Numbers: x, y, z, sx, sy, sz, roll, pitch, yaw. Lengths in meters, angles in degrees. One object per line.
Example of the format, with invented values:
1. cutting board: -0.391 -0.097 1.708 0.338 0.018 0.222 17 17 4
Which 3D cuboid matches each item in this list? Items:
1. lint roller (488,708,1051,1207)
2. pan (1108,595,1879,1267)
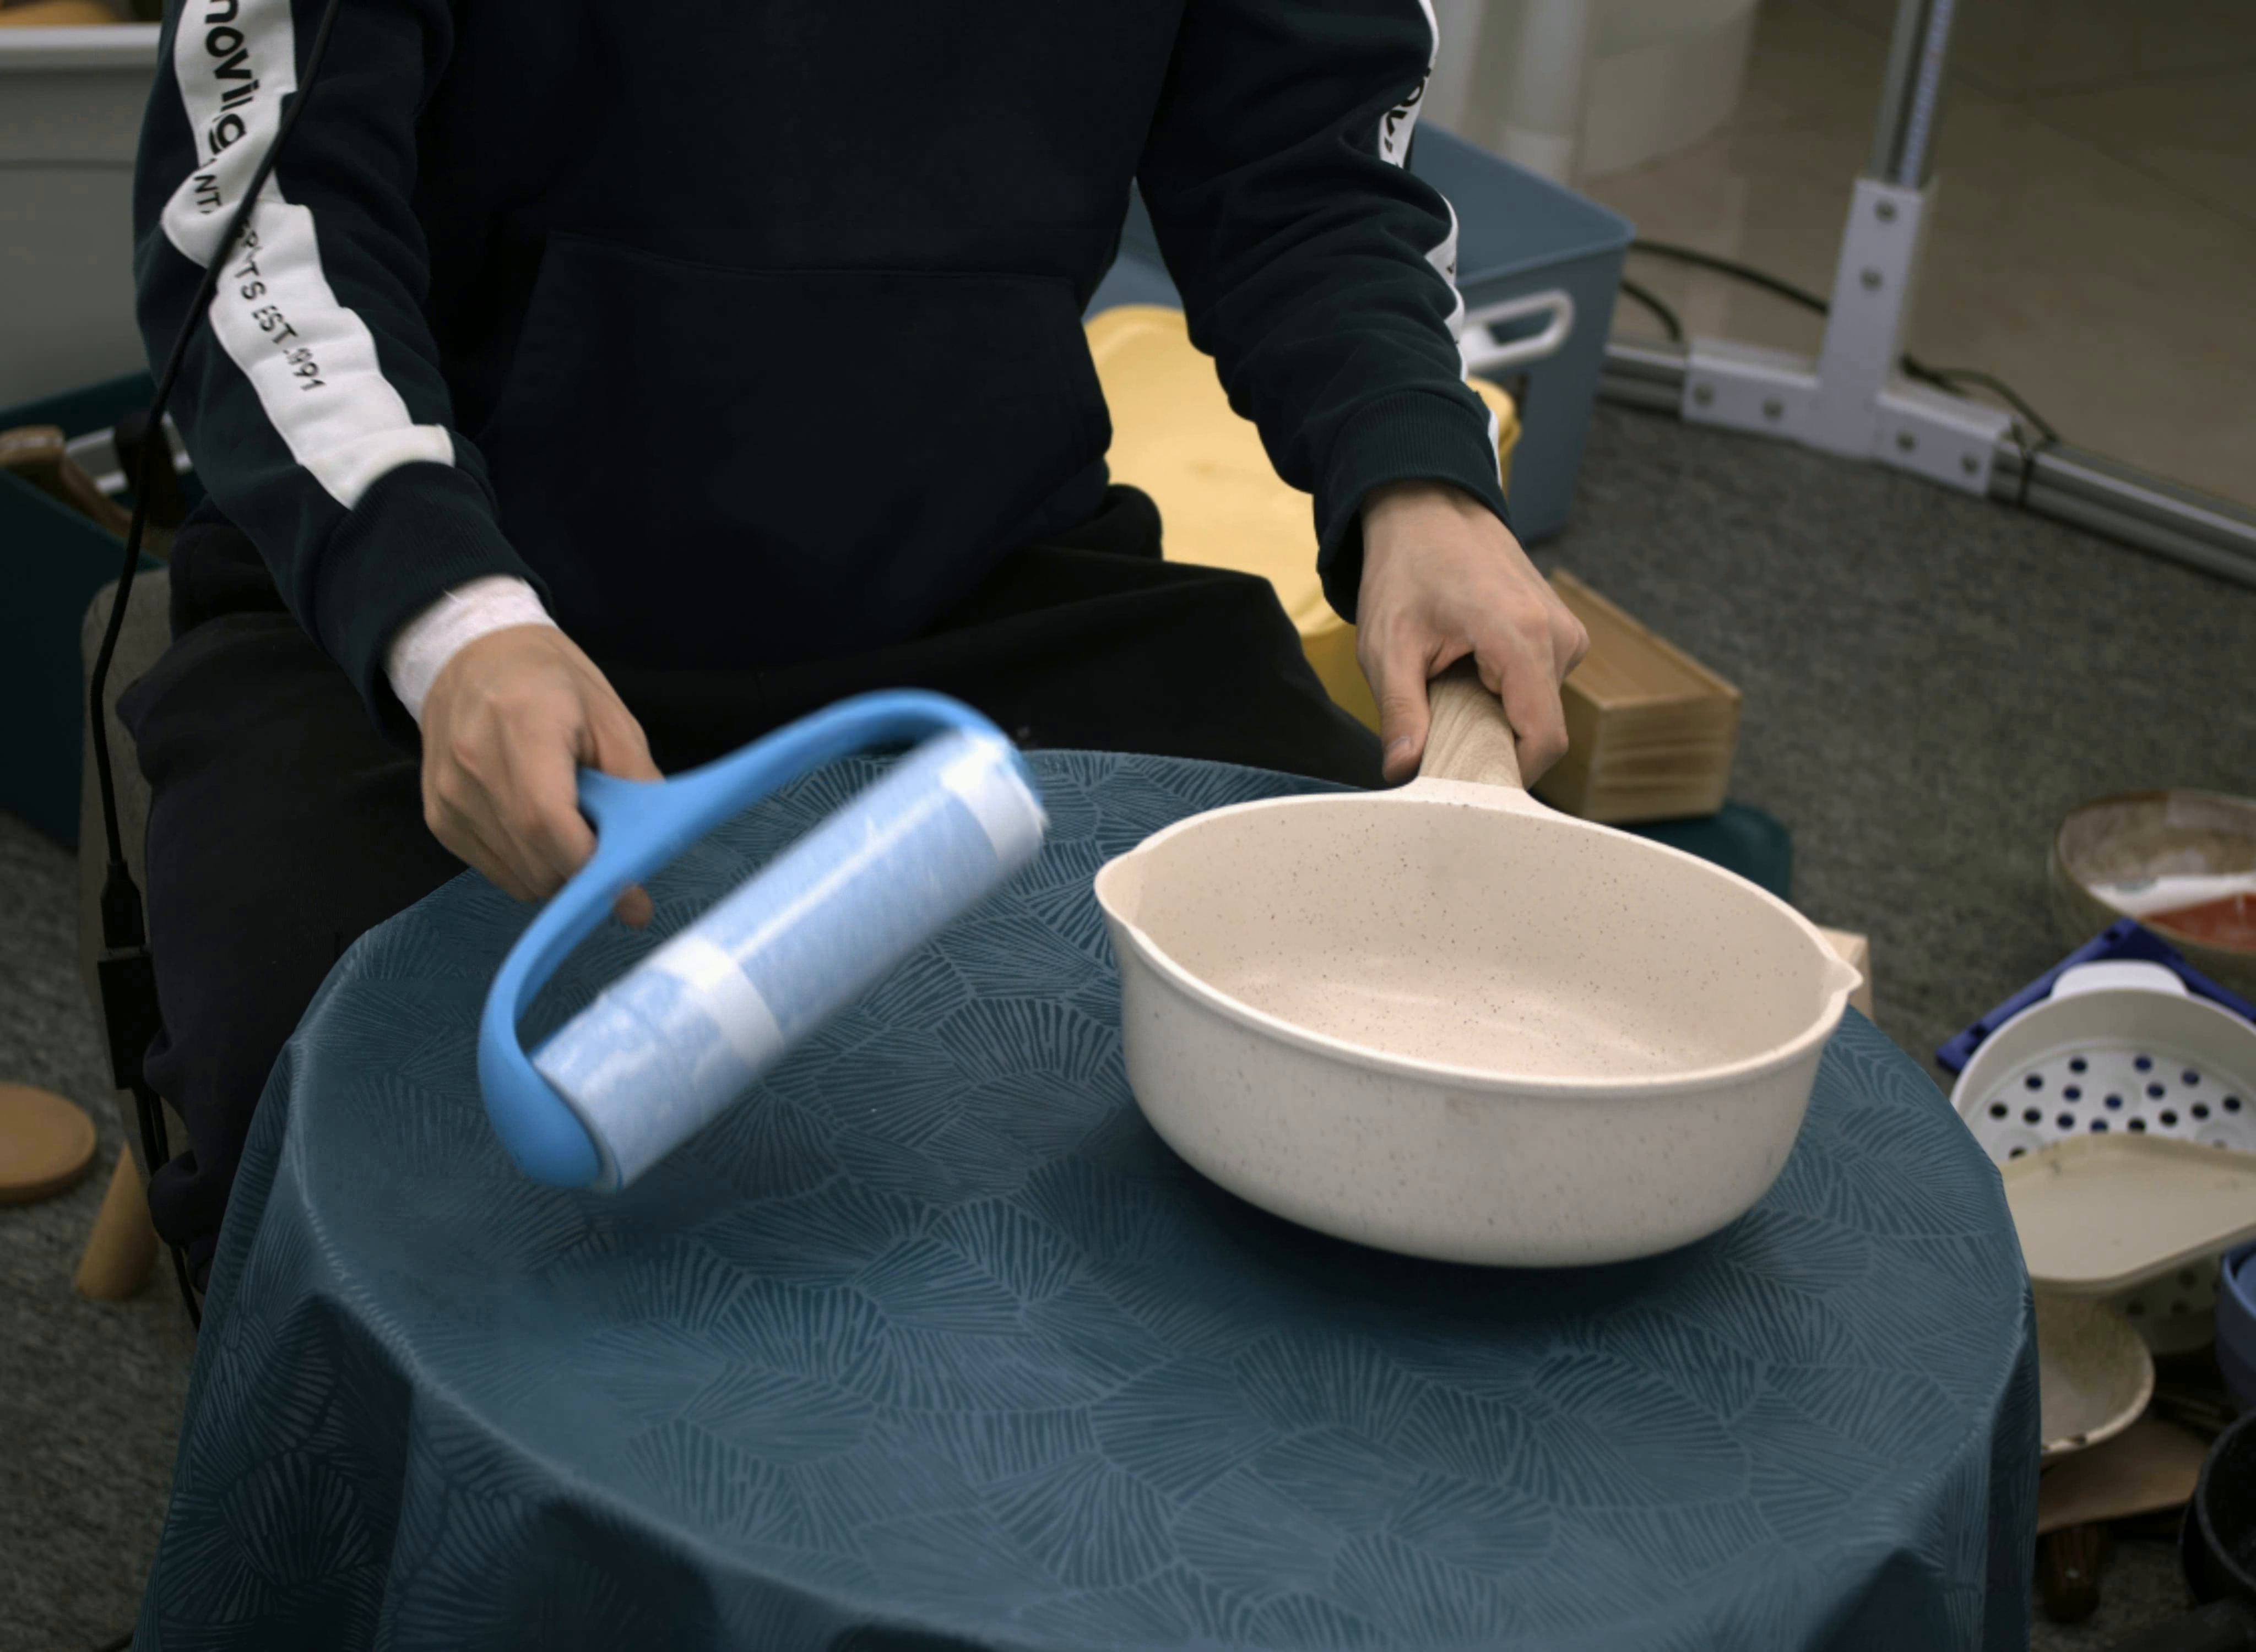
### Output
1. lint roller: -0.156 0.022 1.781 0.181 0.067 0.229 30 57 33
2. pan: 0.122 0.033 1.894 0.262 0.102 0.437 5 20 -1
